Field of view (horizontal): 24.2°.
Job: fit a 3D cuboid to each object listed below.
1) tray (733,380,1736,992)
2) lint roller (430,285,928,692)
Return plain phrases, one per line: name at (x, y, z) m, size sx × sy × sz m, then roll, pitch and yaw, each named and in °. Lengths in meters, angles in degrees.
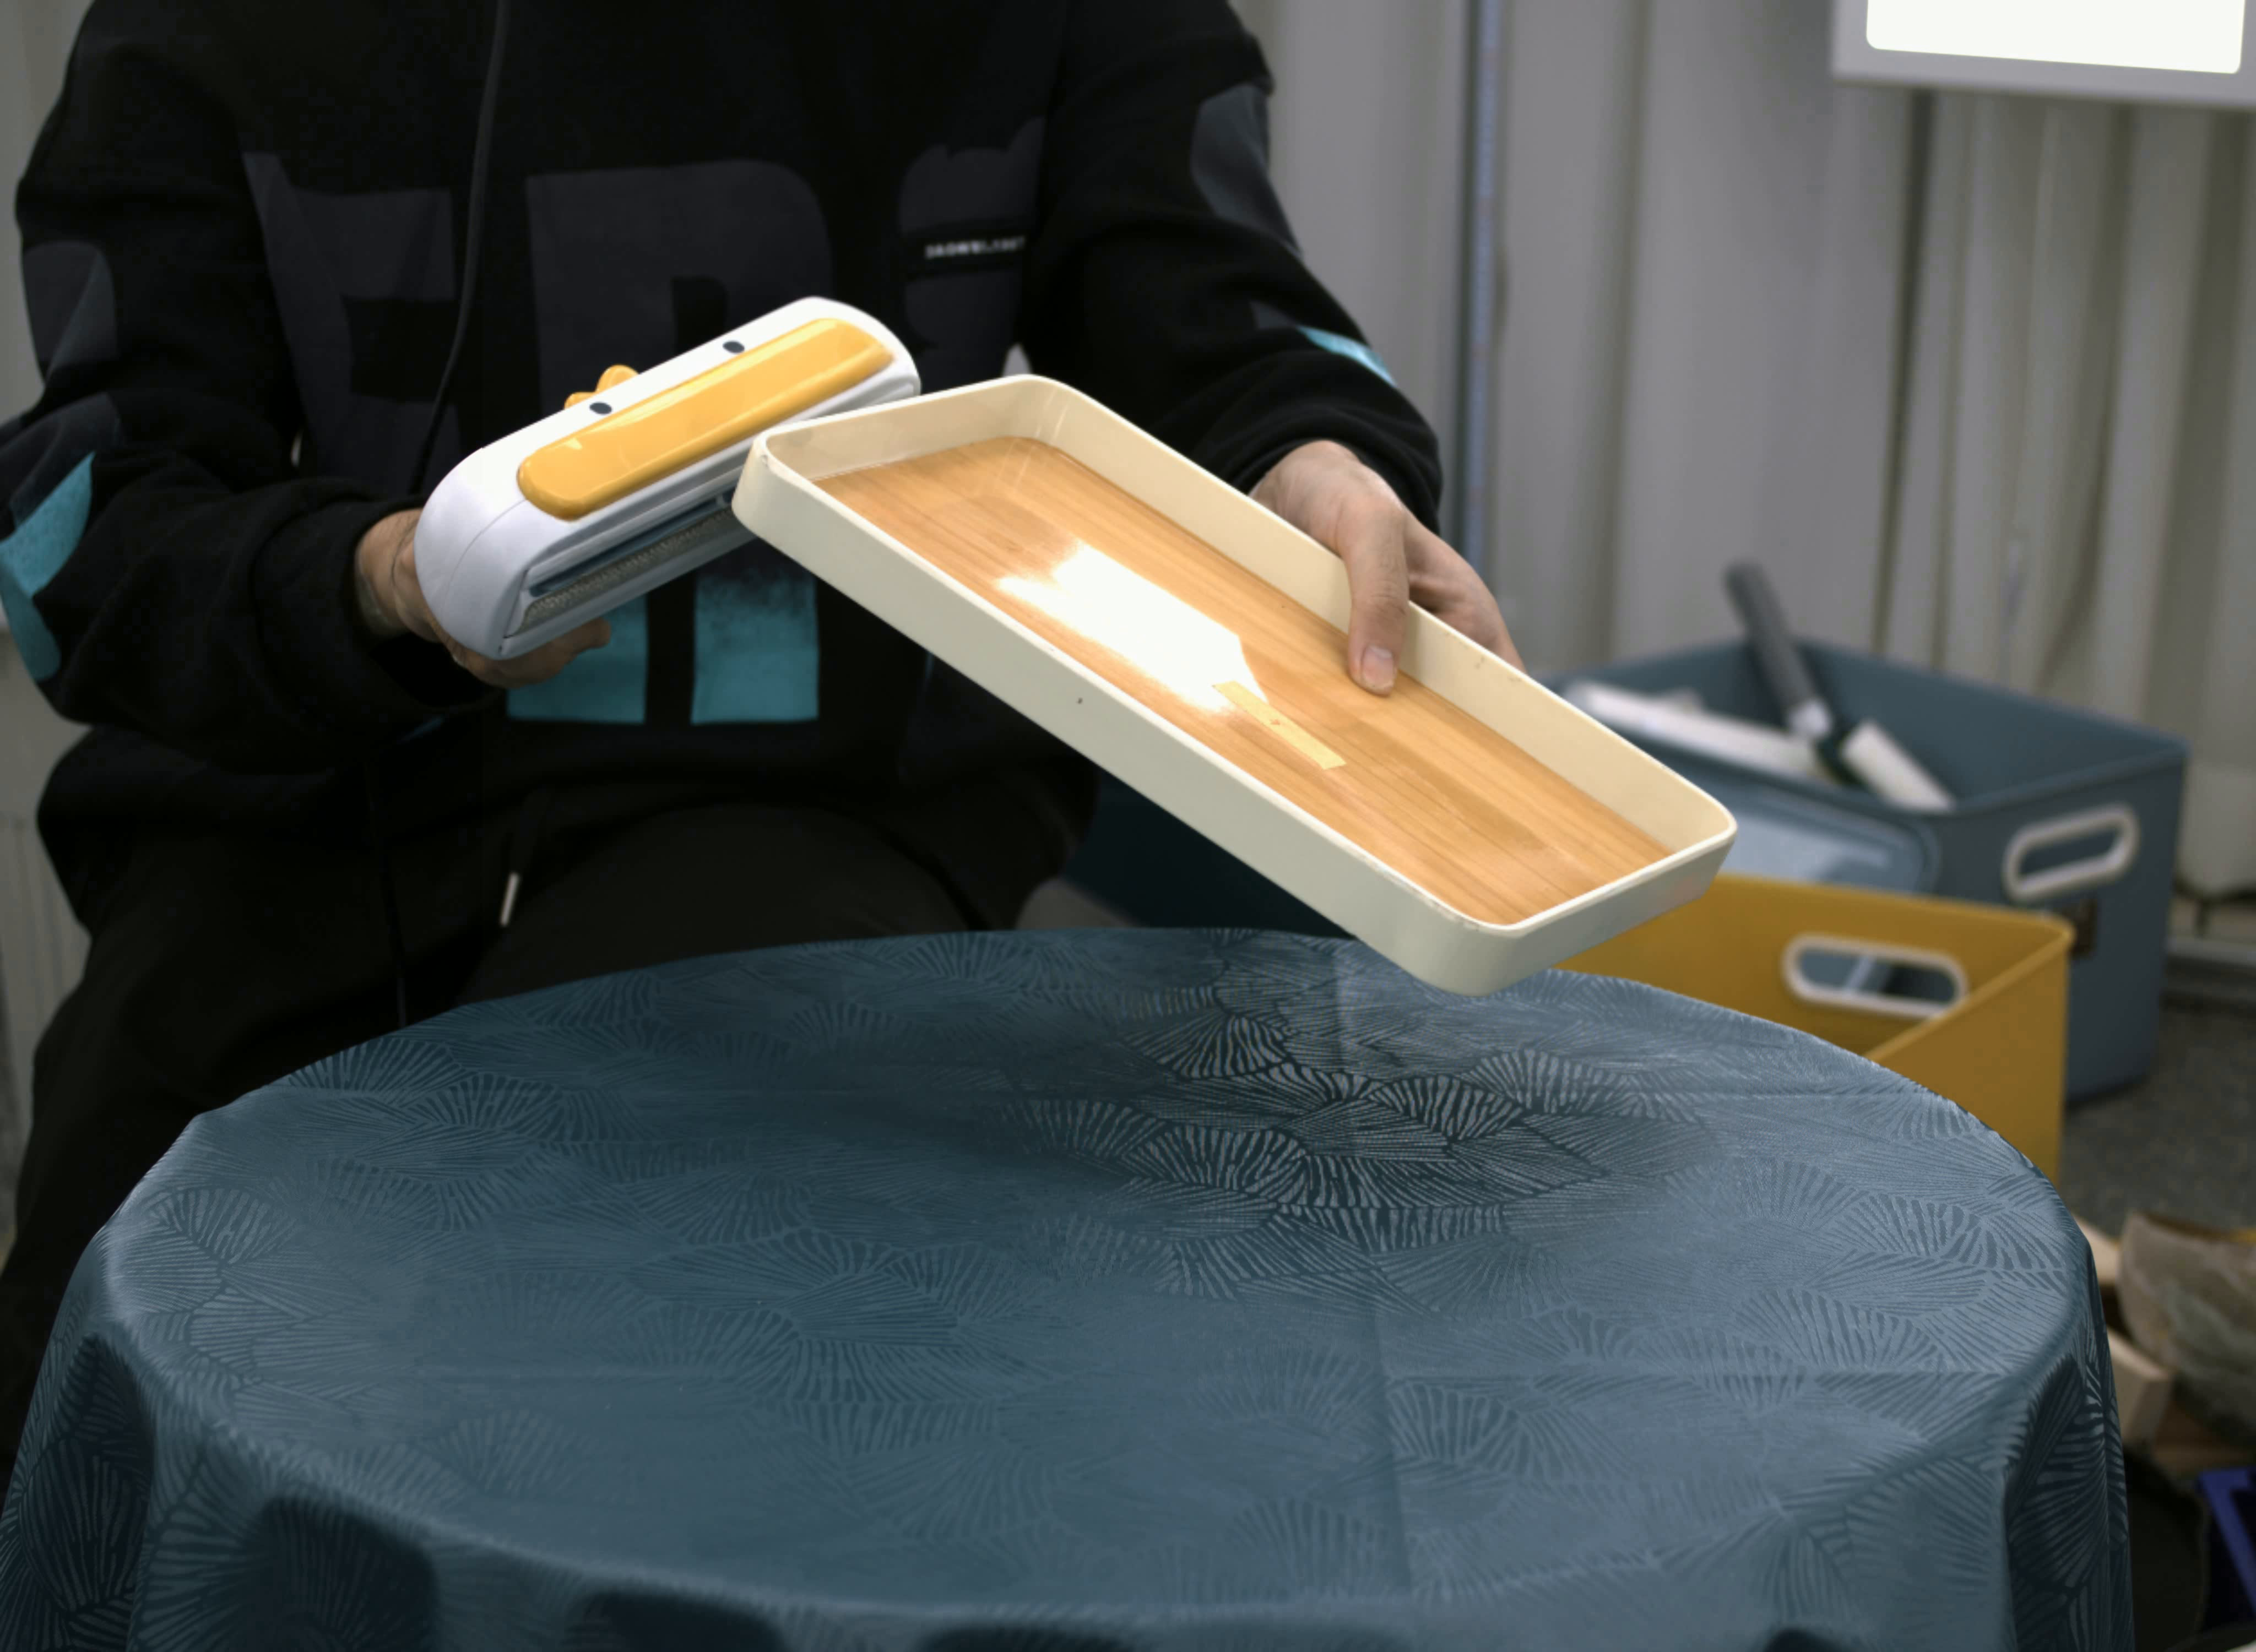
tray at (0.035, -0.050, 1.672) m, size 0.297 × 0.027 × 0.192 m, roll 34°, pitch 25°, yaw 20°
lint roller at (-0.174, -0.093, 1.755) m, size 0.074 × 0.193 × 0.193 m, roll 48°, pitch 48°, yaw 8°
